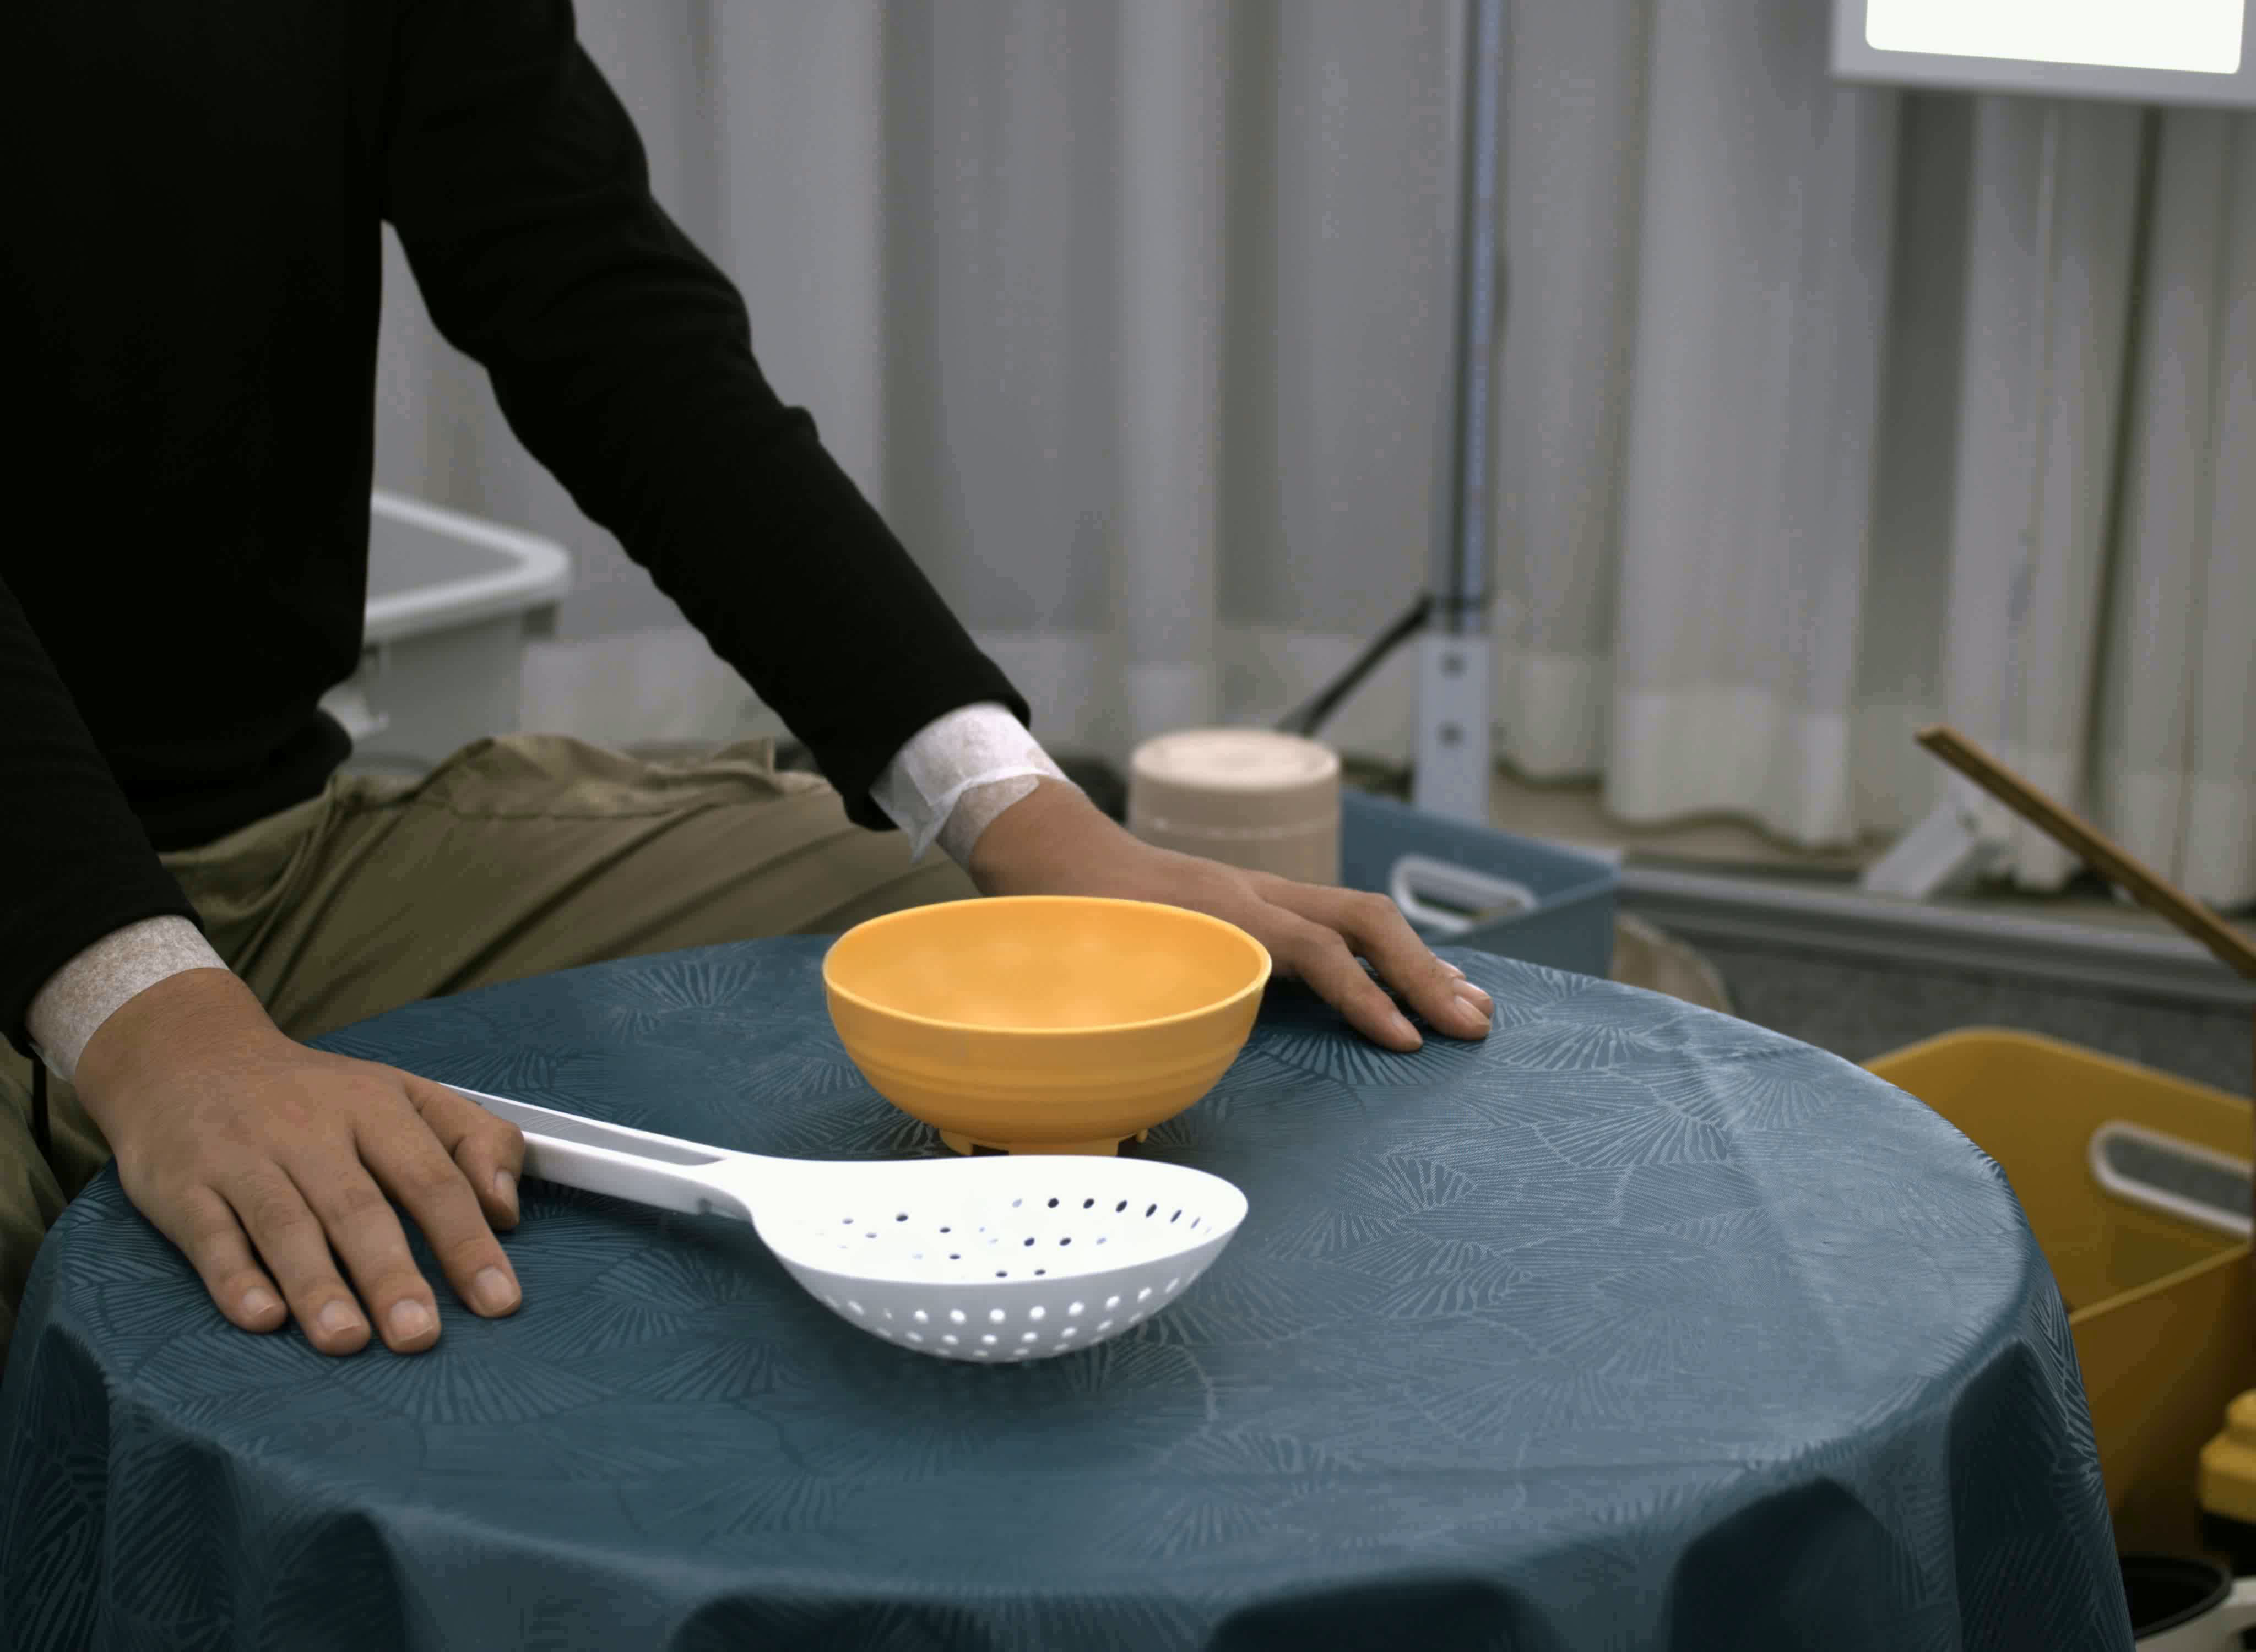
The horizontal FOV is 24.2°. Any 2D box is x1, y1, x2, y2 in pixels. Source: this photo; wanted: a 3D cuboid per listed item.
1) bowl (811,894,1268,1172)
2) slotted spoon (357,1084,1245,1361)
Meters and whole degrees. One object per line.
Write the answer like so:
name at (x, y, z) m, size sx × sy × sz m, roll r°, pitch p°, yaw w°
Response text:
bowl at (-0.029, 0.071, 1.666) m, size 0.145 × 0.060 × 0.144 m, roll 3°, pitch 16°, yaw 0°
slotted spoon at (-0.112, 0.106, 1.552) m, size 0.345 × 0.046 × 0.137 m, roll 13°, pitch 19°, yaw 42°
